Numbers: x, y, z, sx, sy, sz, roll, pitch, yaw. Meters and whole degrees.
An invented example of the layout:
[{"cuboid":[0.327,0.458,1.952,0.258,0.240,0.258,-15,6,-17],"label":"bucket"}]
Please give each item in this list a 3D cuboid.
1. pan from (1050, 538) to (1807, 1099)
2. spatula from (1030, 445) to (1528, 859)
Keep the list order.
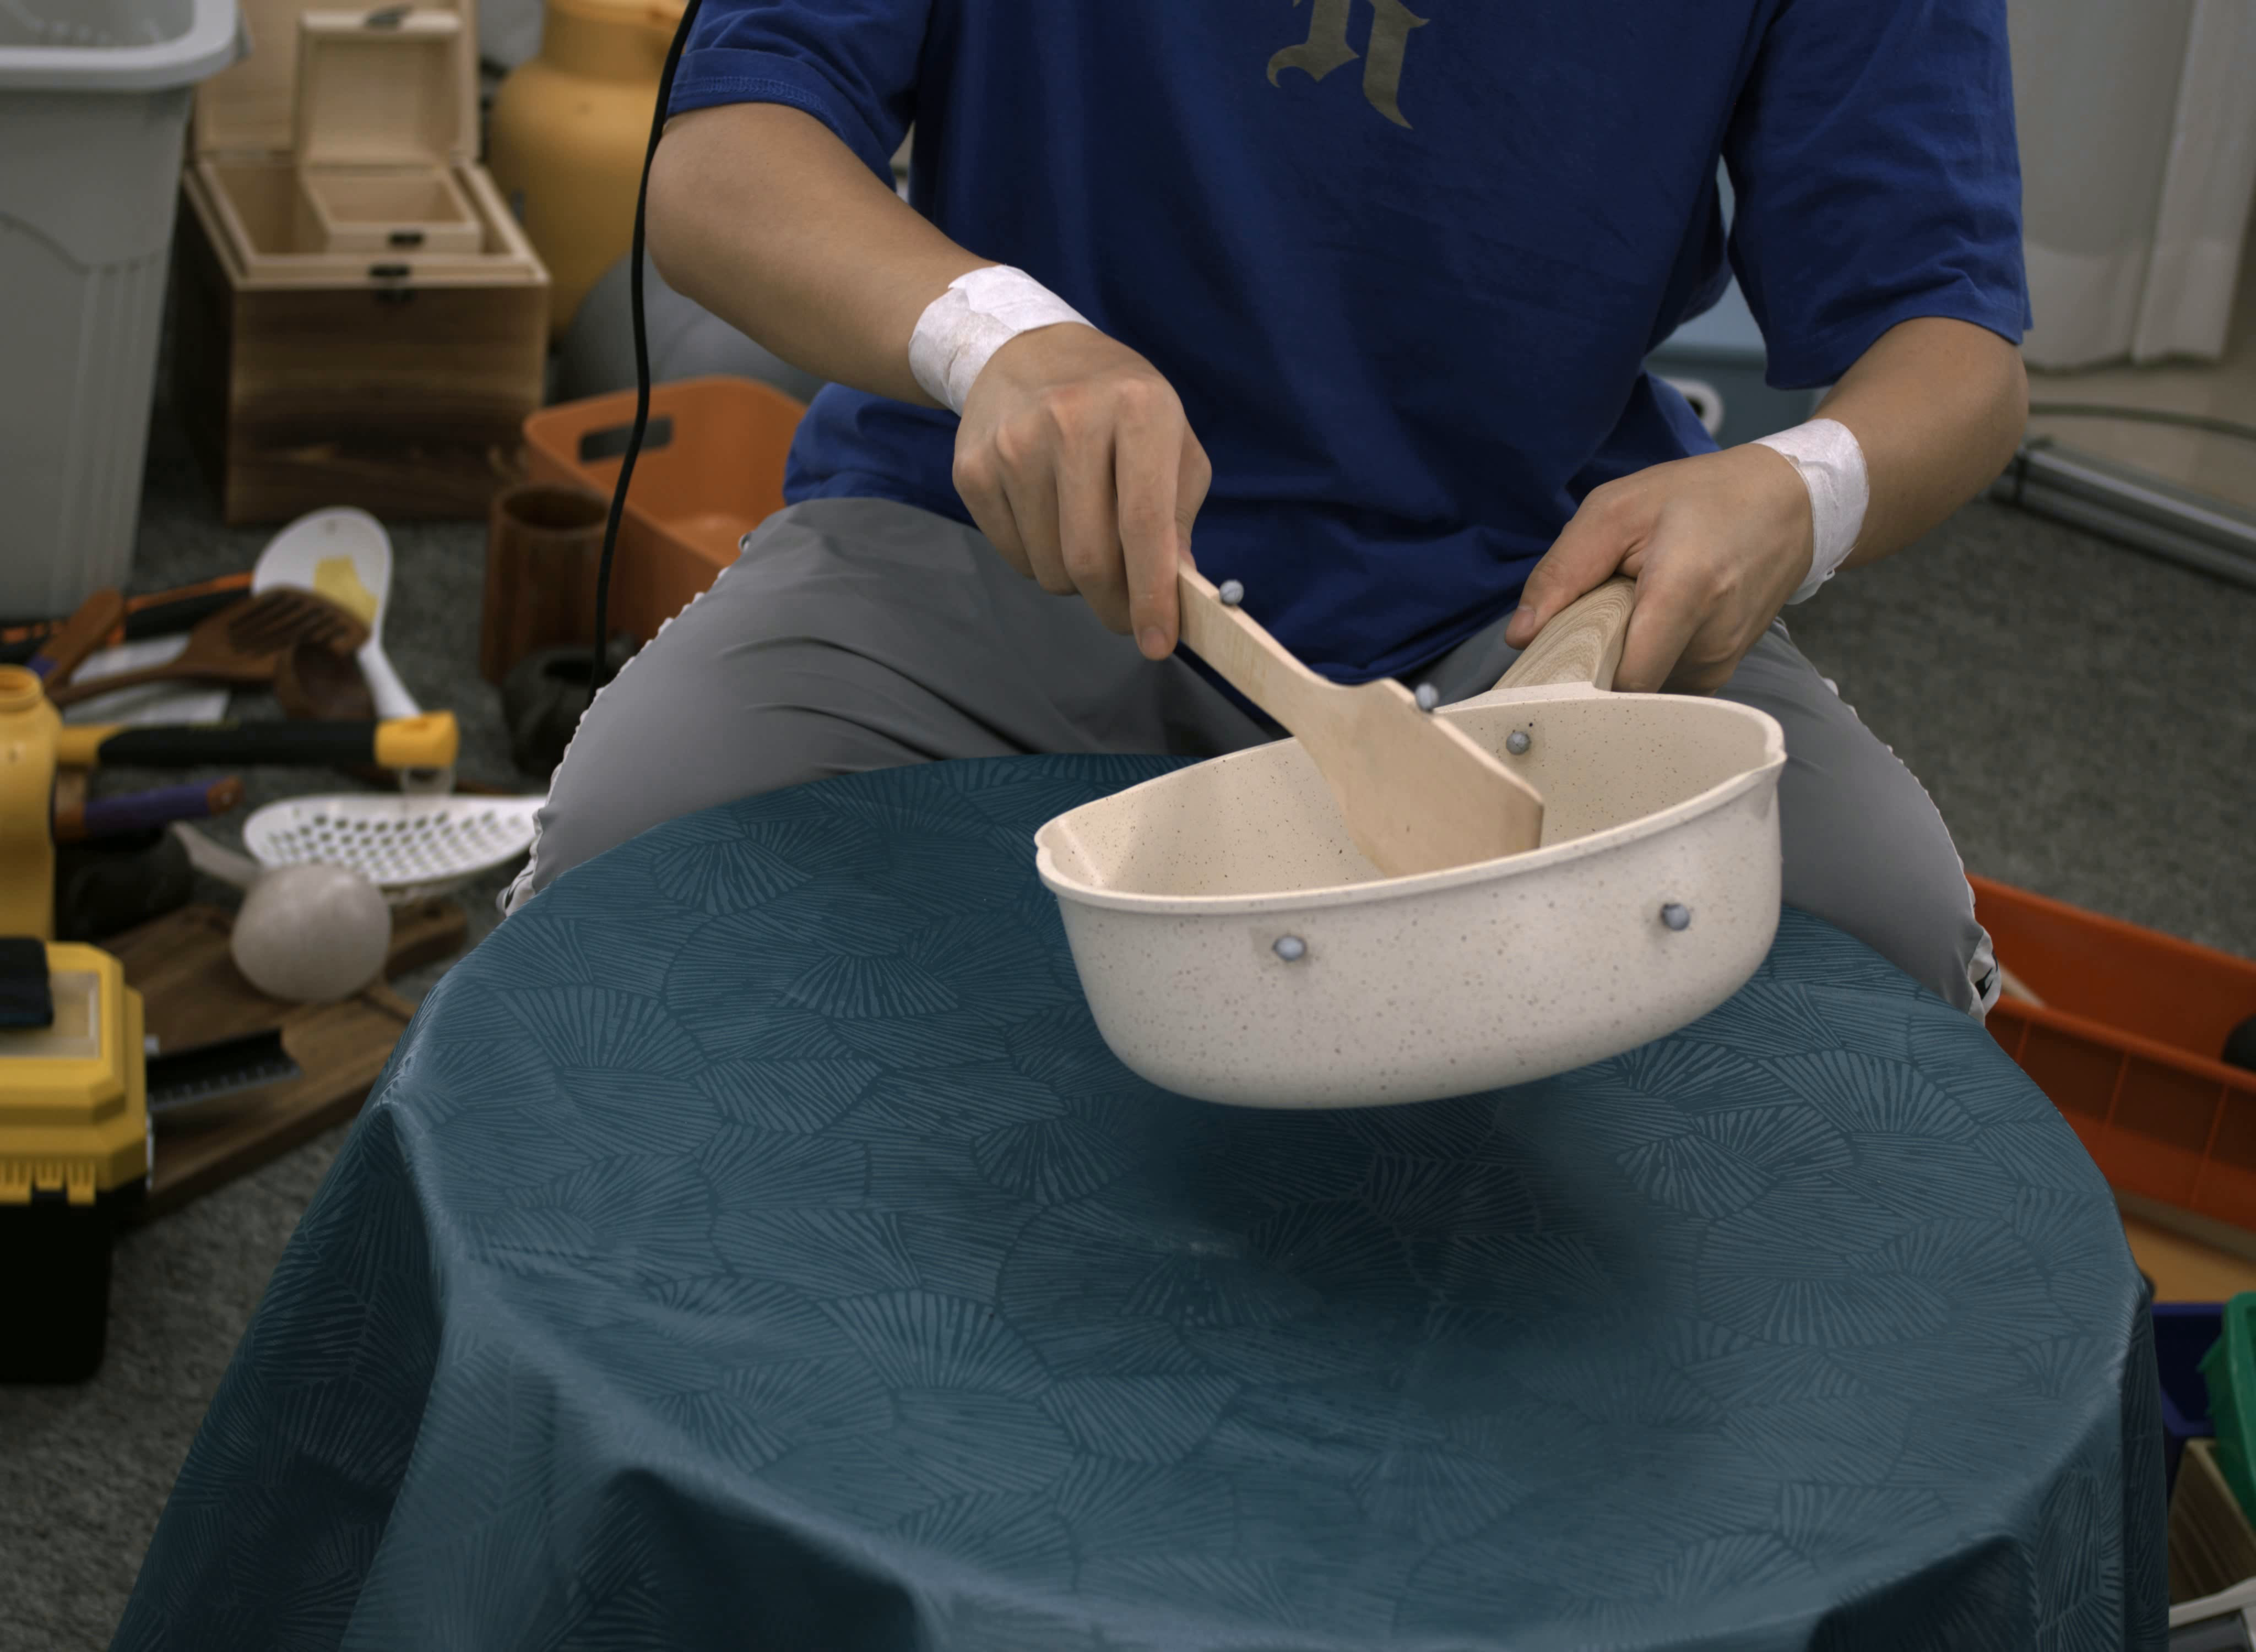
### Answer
[{"cuboid":[0.136,-0.006,1.851,0.264,0.102,0.434,-7,12,23],"label":"pan"},{"cuboid":[0.046,-0.057,1.846,0.010,0.072,0.296,-17,40,-29],"label":"spatula"}]
